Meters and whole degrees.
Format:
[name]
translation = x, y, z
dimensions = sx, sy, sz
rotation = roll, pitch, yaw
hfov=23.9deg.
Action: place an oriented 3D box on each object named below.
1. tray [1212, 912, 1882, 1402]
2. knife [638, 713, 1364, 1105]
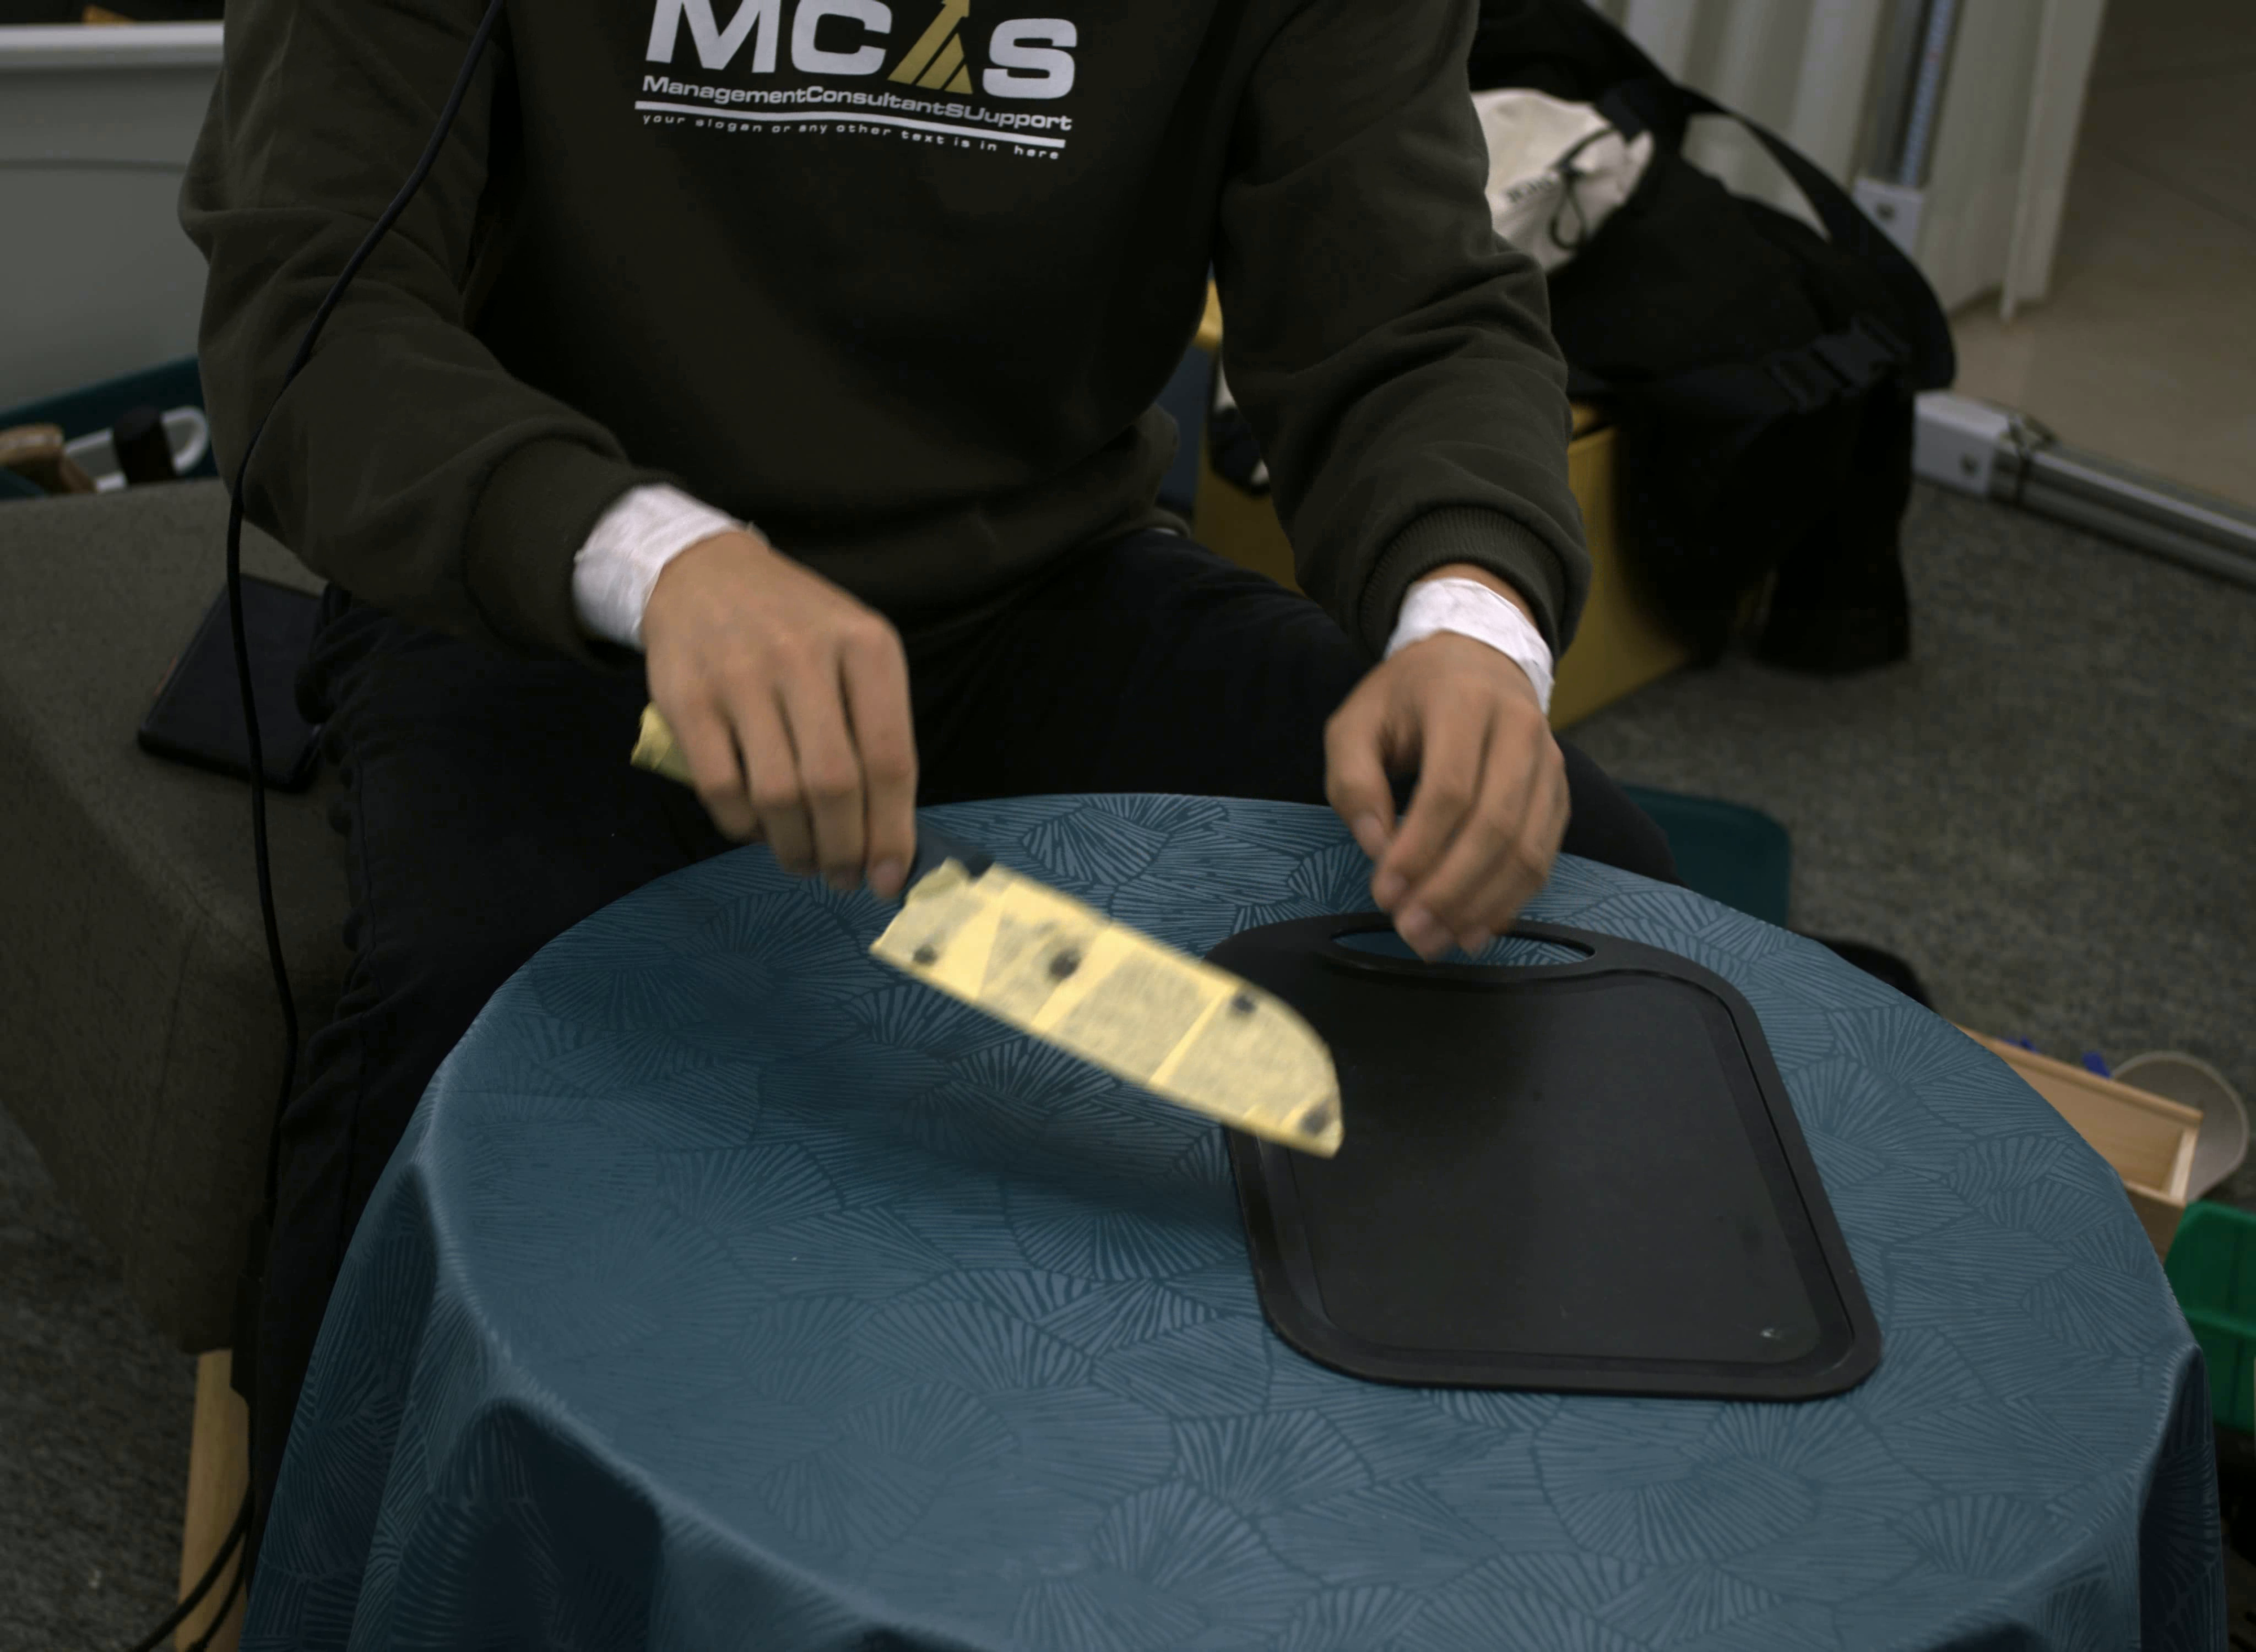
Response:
[tray]
translation = 0.137, 0.107, 1.861
dimensions = 0.210, 0.010, 0.327
rotation = 3, 27, -7
[knife]
translation = -0.048, 0.030, 1.822
dimensions = 0.290, 0.027, 0.081
rotation = 25, 35, 15
